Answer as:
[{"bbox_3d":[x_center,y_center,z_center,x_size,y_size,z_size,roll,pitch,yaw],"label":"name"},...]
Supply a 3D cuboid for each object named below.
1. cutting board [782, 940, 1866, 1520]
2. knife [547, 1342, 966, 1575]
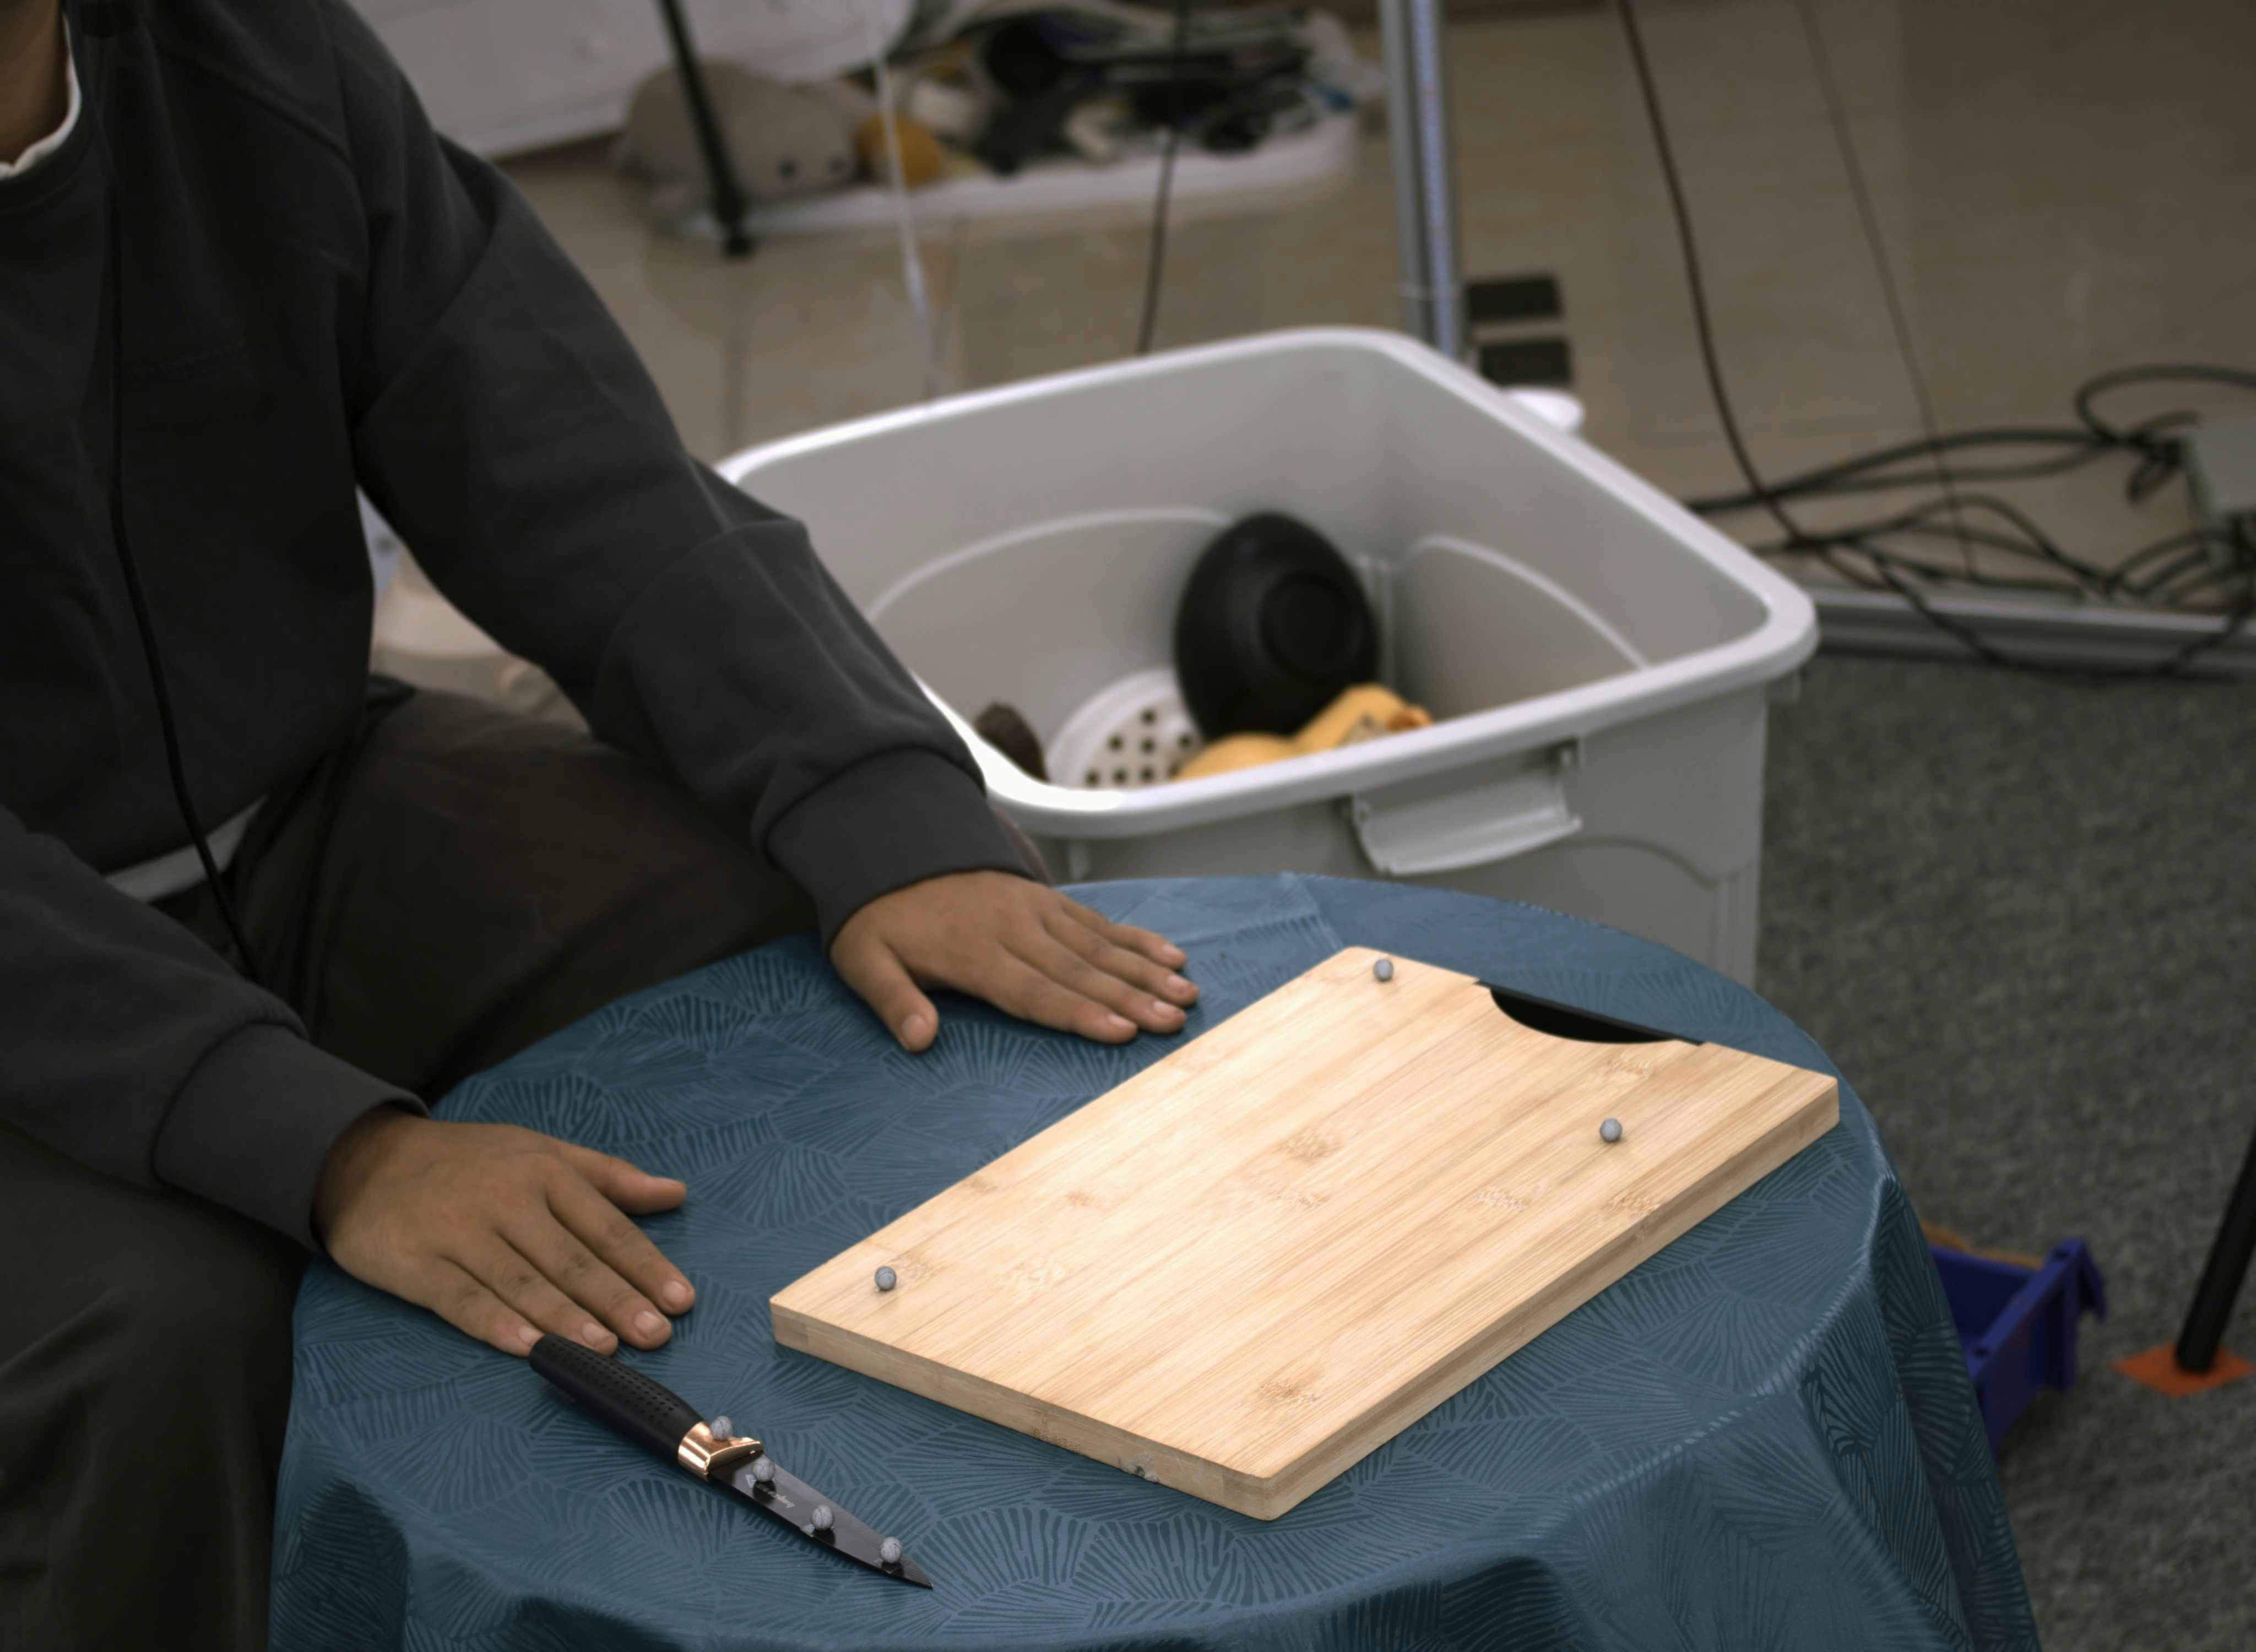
[{"bbox_3d":[0.074,0.141,2.107,0.249,0.024,0.345,15,32,39],"label":"cutting board"},{"bbox_3d":[-0.133,0.222,1.987,0.026,0.017,0.223,-19,28,-37],"label":"knife"}]
